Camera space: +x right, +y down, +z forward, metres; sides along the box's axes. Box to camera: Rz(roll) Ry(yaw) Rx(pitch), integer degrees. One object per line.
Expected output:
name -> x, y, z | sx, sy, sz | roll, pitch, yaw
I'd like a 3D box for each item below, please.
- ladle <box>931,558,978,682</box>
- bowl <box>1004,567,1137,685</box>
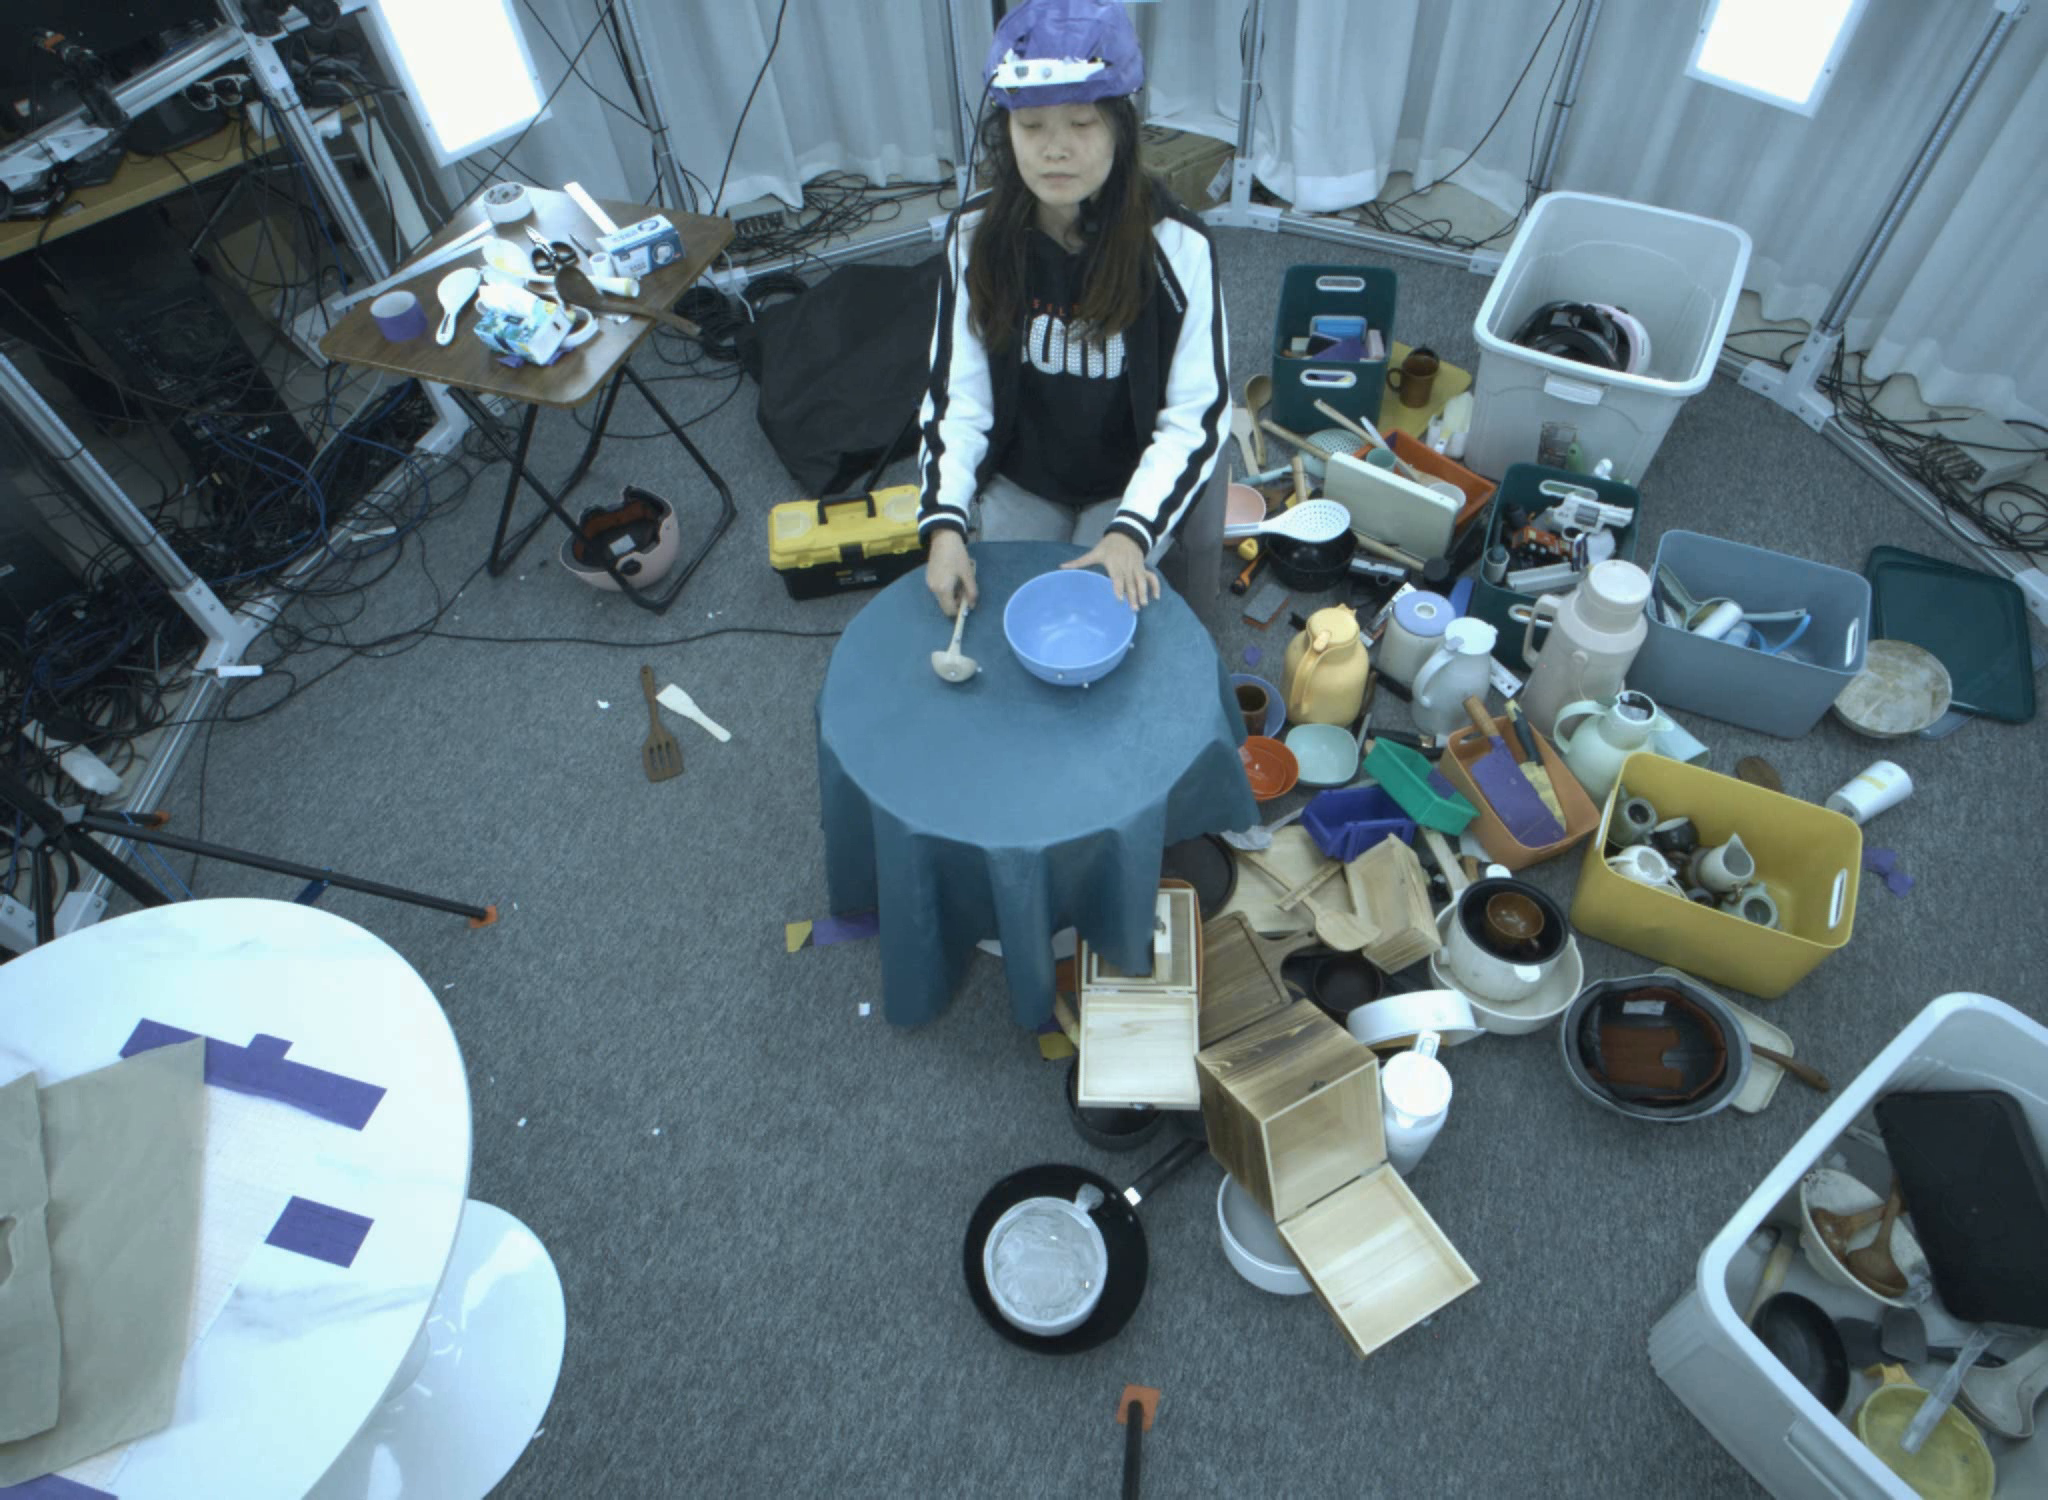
ladle -> -0.096, -0.220, 1.892 | 0.073, 0.073, 0.252 | 11, 60, -9
bowl -> 0.070, -0.171, 1.846 | 0.196, 0.096, 0.194 | 0, 58, 2
